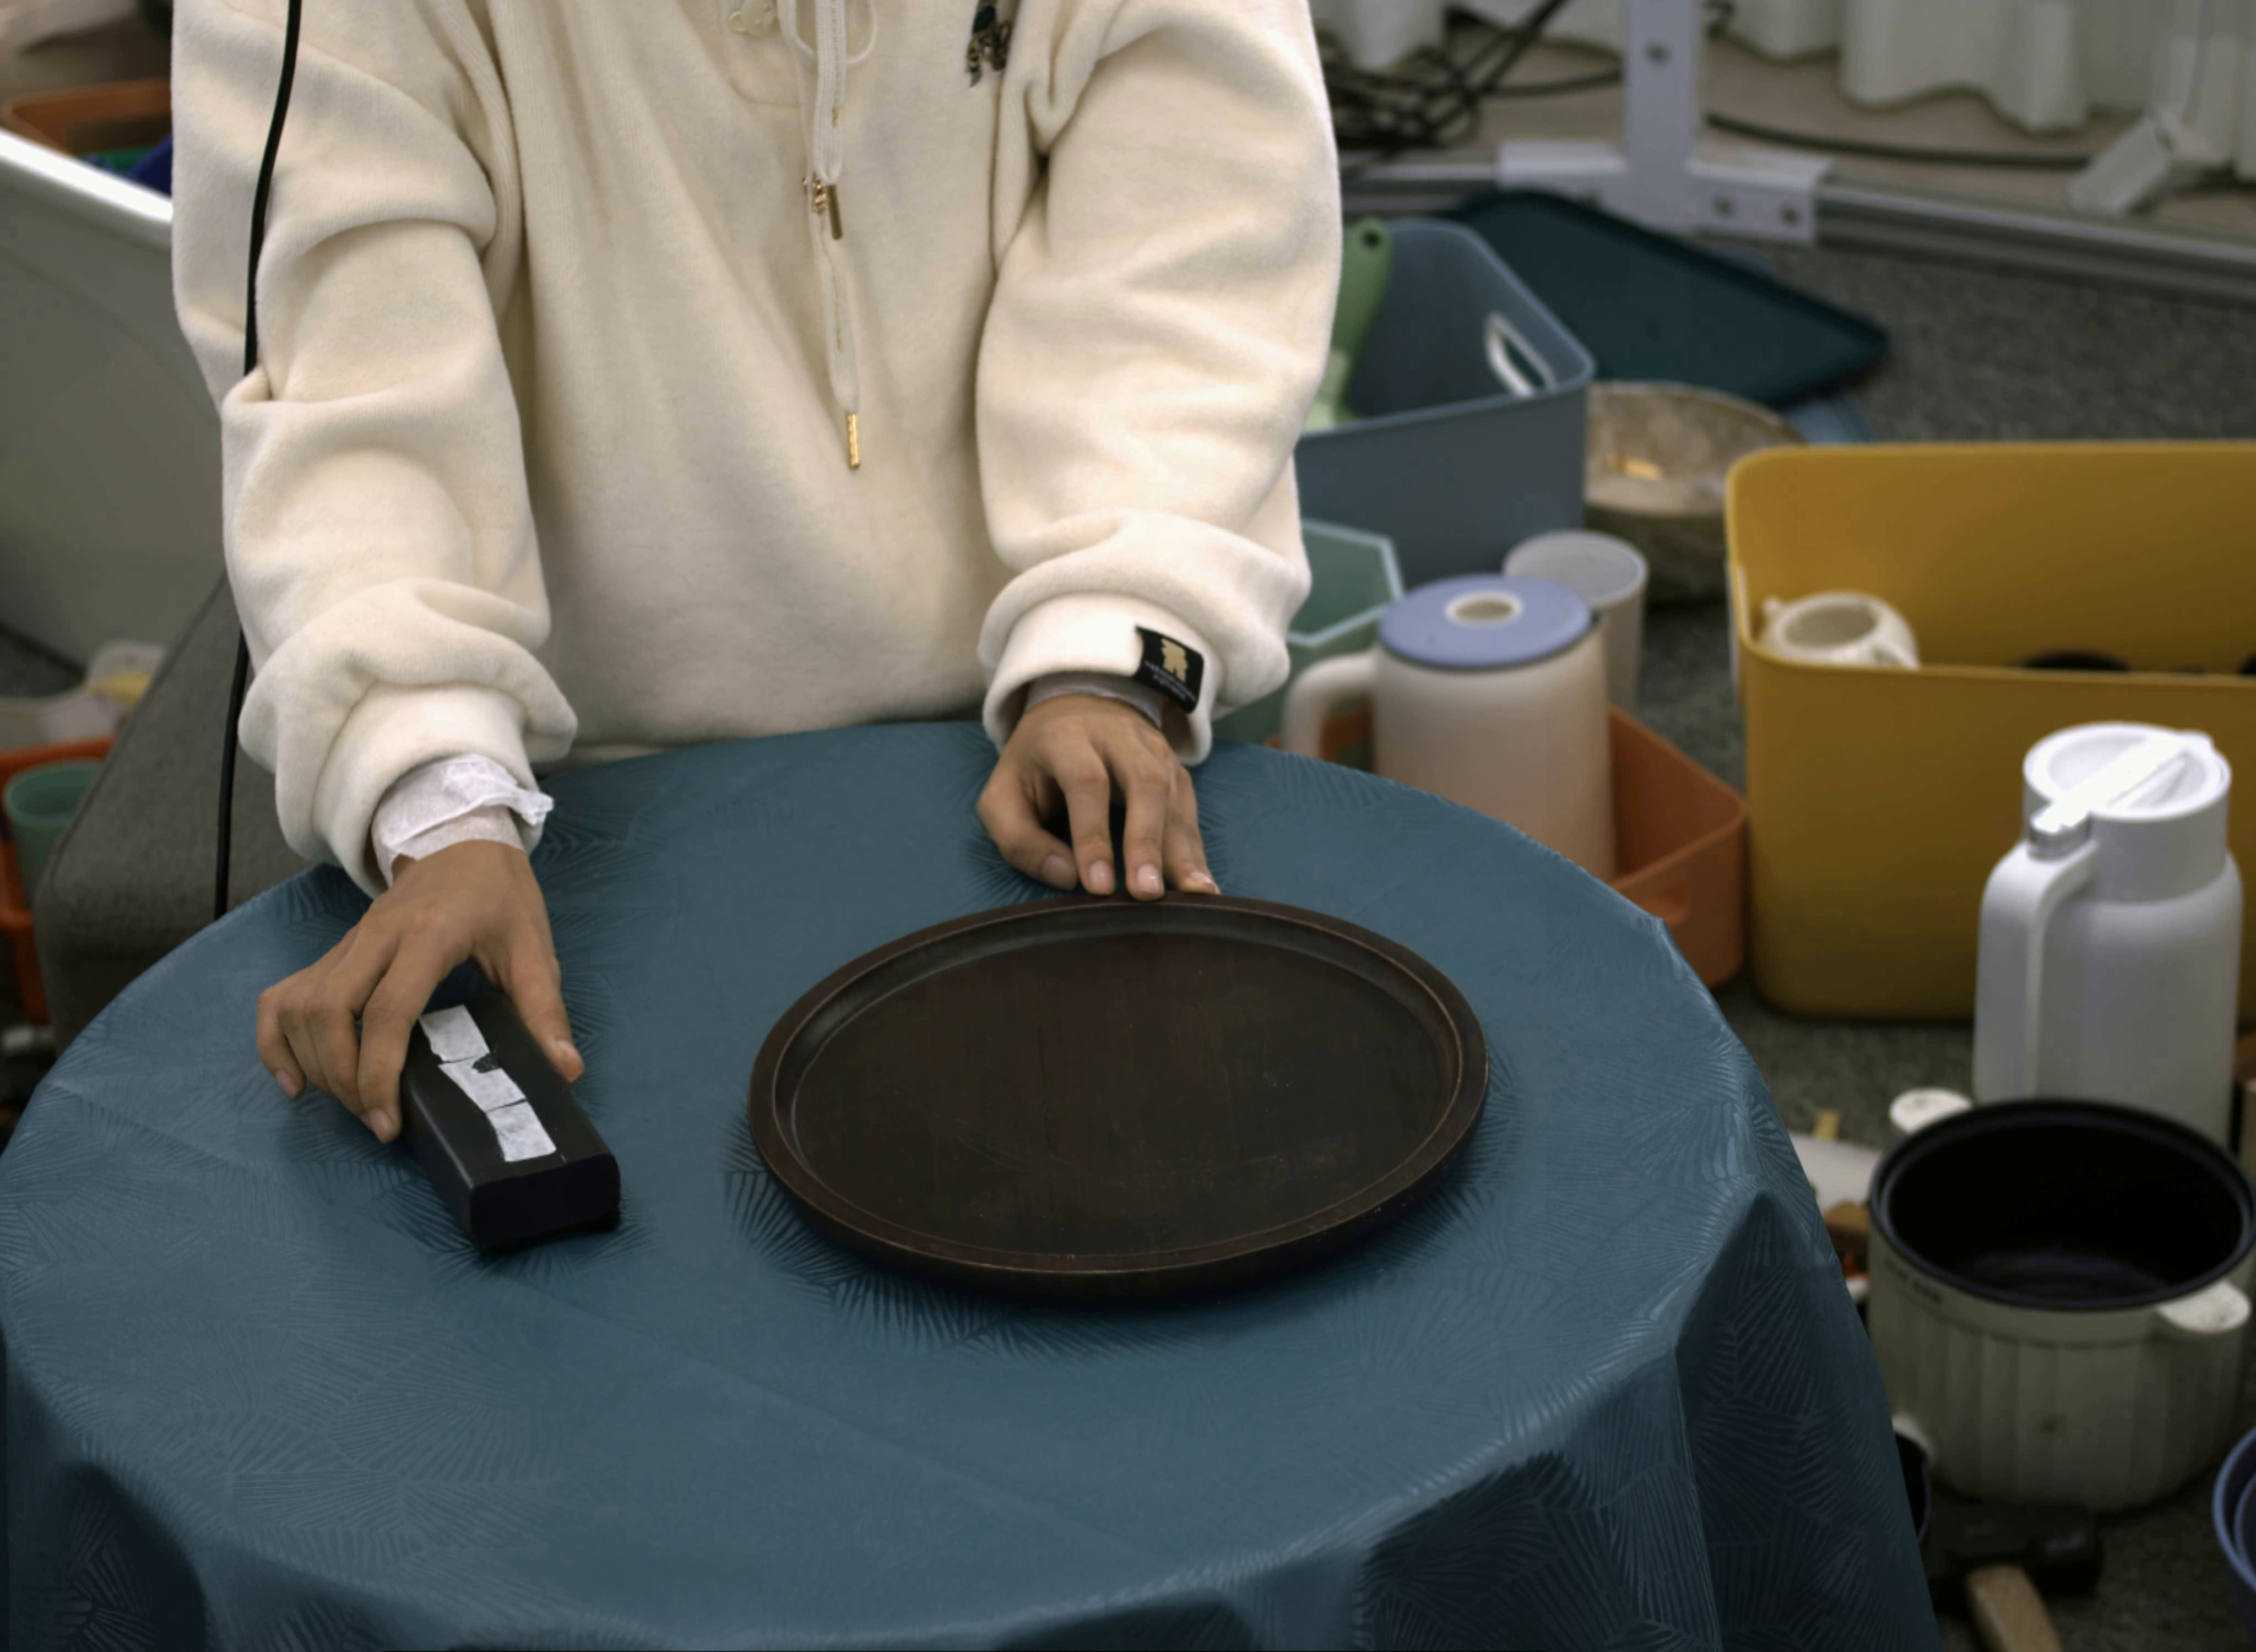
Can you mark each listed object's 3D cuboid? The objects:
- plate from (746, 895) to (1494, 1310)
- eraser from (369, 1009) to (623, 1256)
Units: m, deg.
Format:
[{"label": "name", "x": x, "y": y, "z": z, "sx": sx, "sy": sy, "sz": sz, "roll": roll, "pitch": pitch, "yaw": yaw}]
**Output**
[{"label": "plate", "x": -0.003, "y": 0.091, "z": 1.895, "sx": 0.253, "sy": 0.029, "sz": 0.259, "roll": -2, "pitch": 29, "yaw": 2}, {"label": "eraser", "x": -0.213, "y": 0.103, "z": 1.891, "sx": 0.053, "sy": 0.030, "sz": 0.126, "roll": -11, "pitch": 27, "yaw": -20}]
